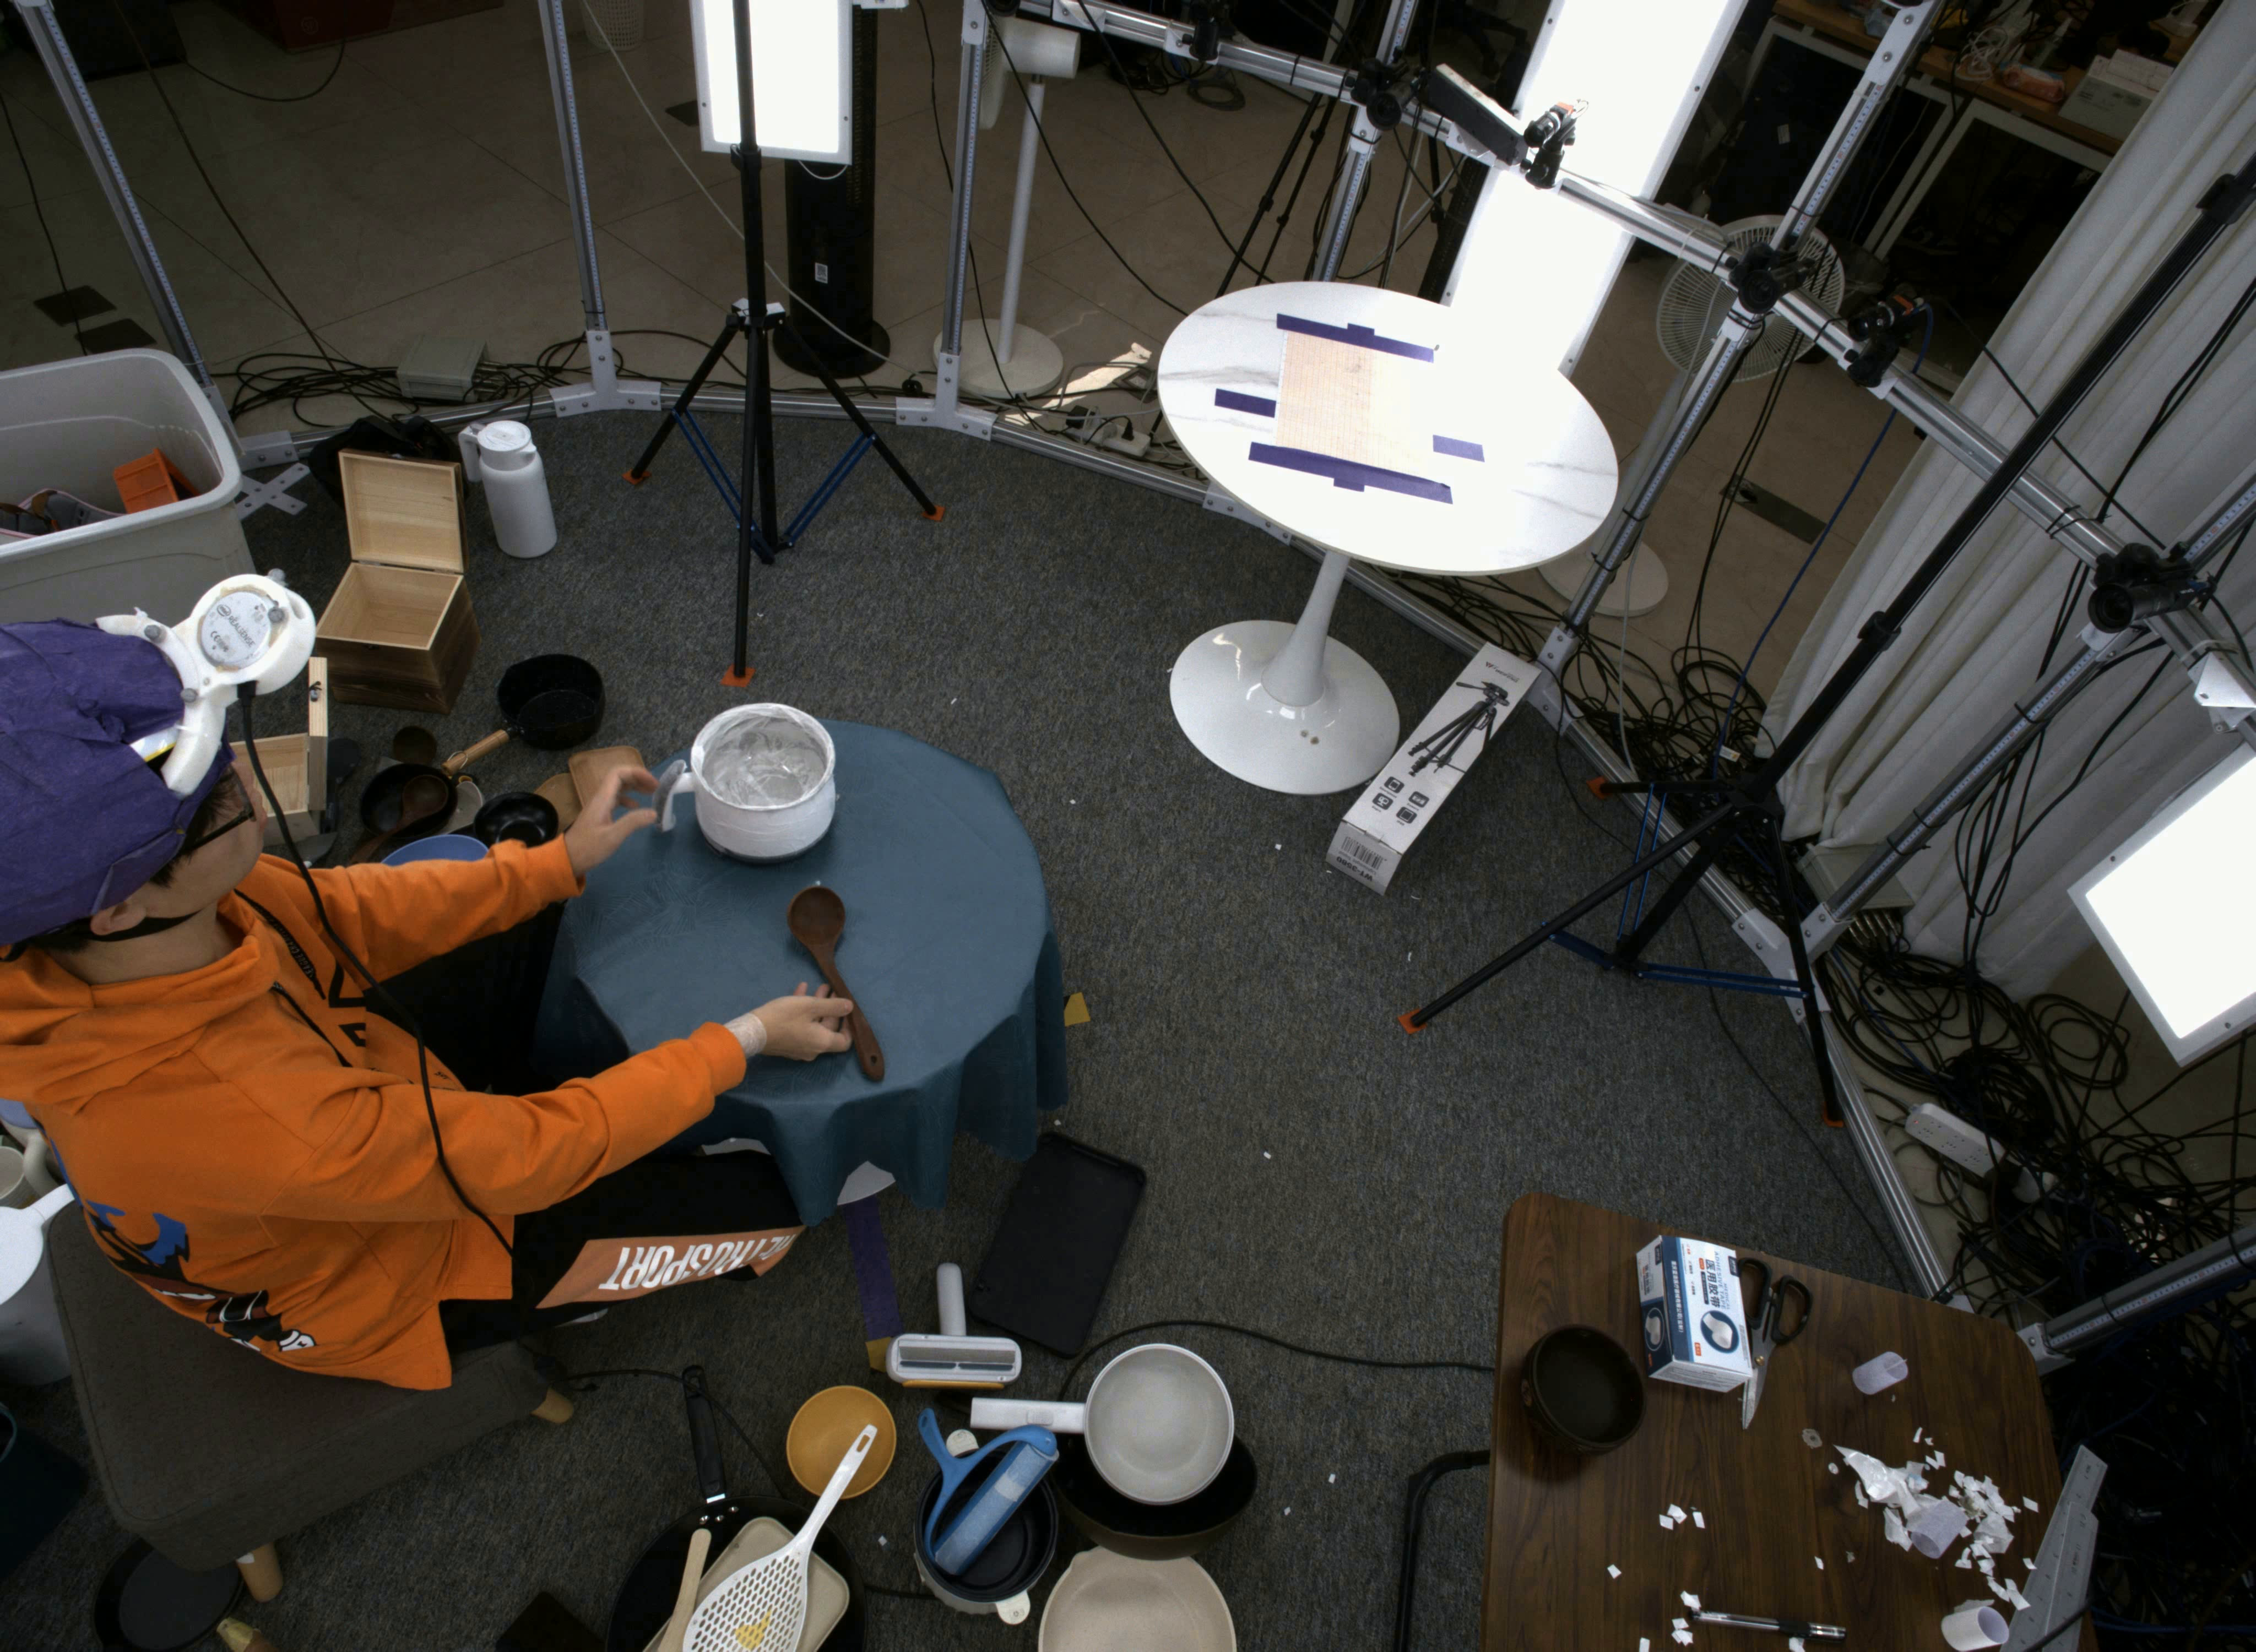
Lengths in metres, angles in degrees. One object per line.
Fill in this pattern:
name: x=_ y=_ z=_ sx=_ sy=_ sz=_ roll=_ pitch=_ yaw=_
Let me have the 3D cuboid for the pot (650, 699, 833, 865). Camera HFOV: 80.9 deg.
pot: x=-0.492 y=-0.048 z=1.643 sx=0.235 sy=0.139 sz=0.174 roll=-10 pitch=56 yaw=-21

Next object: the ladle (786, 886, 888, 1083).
ladle: x=-0.342 y=0.183 z=1.557 sx=0.077 sy=0.066 sz=0.253 roll=-14 pitch=58 yaw=-30
